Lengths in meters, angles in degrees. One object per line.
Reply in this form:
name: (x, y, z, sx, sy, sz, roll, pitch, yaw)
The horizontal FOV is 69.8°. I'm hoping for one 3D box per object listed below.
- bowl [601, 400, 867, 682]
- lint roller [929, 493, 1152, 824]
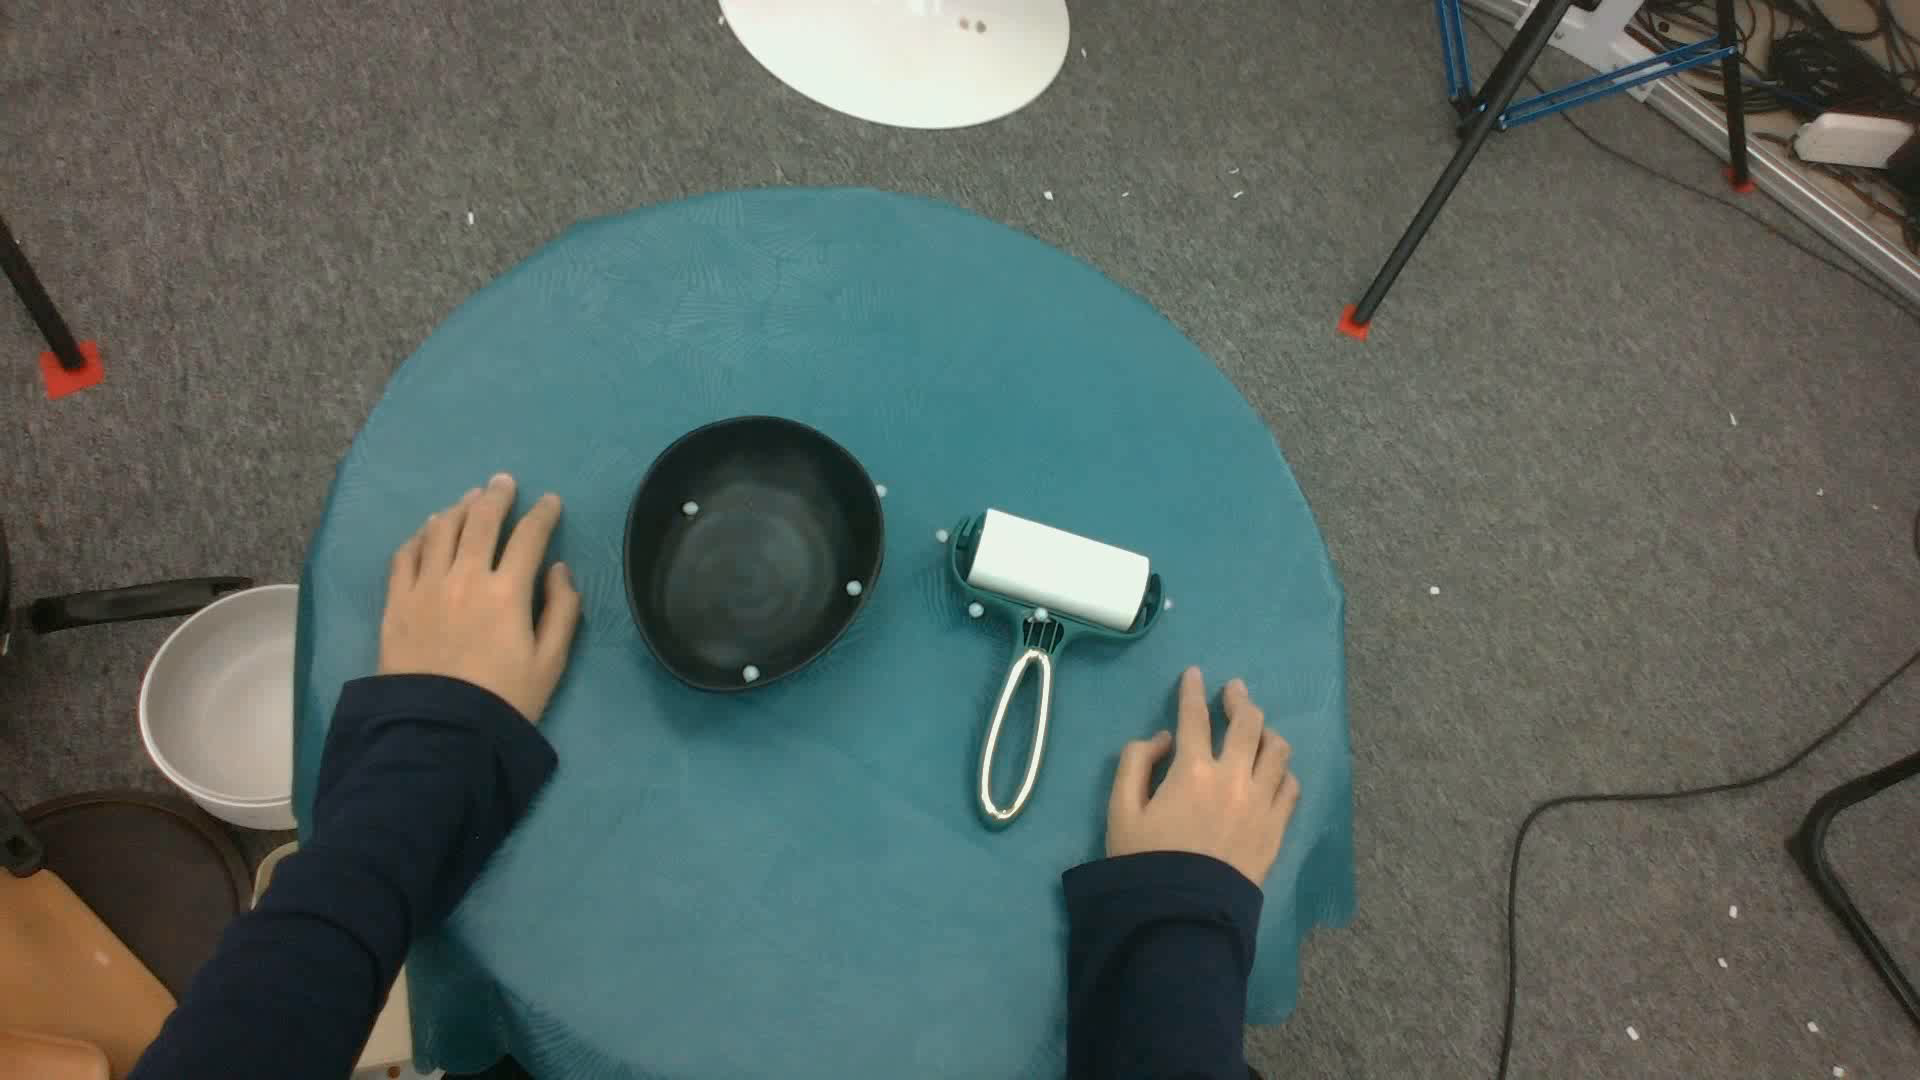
bowl: (-0.125, 0.007, 0.757, 0.137, 0.066, 0.171, 17, 59, -5)
lint roller: (0.033, 0.069, 0.777, 0.134, 0.048, 0.181, 17, 61, -5)
